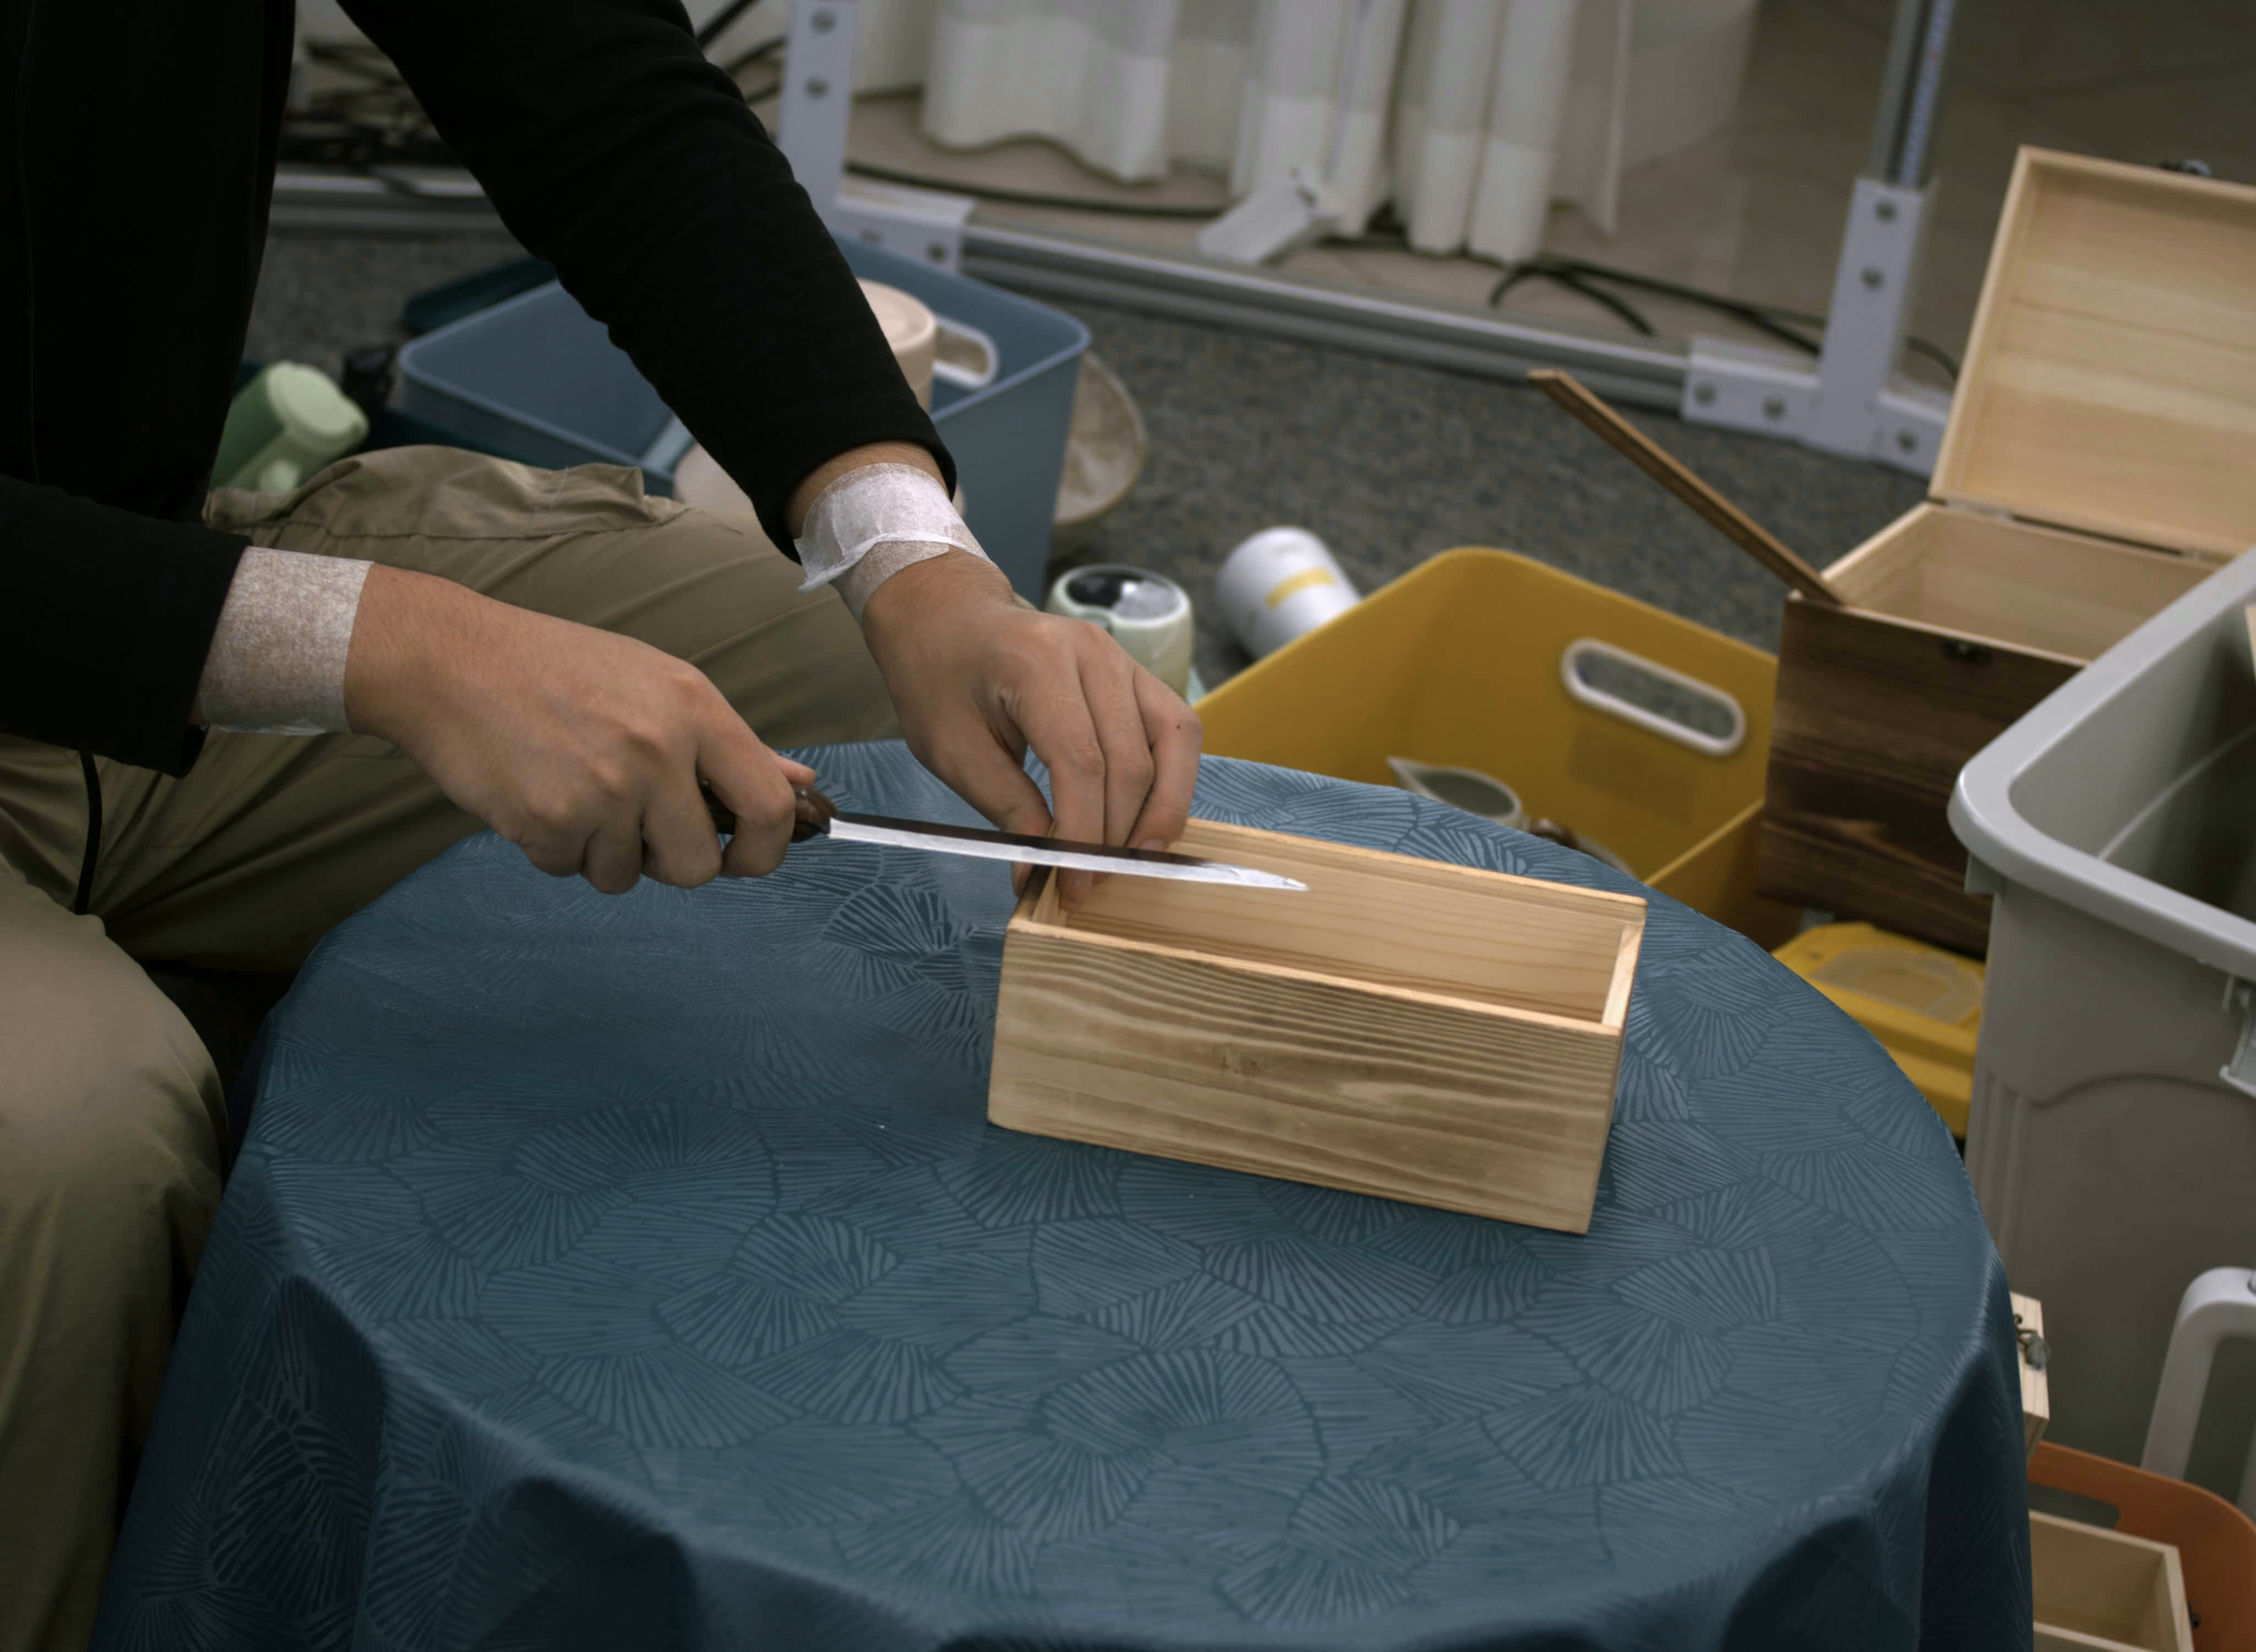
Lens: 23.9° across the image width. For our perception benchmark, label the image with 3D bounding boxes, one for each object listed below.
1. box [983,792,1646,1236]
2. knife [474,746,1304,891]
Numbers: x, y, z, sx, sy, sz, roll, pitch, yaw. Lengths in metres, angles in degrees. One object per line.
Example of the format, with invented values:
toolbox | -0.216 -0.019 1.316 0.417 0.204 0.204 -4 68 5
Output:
box | 0.065 0.064 1.847 0.211 0.080 0.108 11 26 7
knife | -0.082 0.001 1.826 0.288 0.020 0.050 8 13 -2
